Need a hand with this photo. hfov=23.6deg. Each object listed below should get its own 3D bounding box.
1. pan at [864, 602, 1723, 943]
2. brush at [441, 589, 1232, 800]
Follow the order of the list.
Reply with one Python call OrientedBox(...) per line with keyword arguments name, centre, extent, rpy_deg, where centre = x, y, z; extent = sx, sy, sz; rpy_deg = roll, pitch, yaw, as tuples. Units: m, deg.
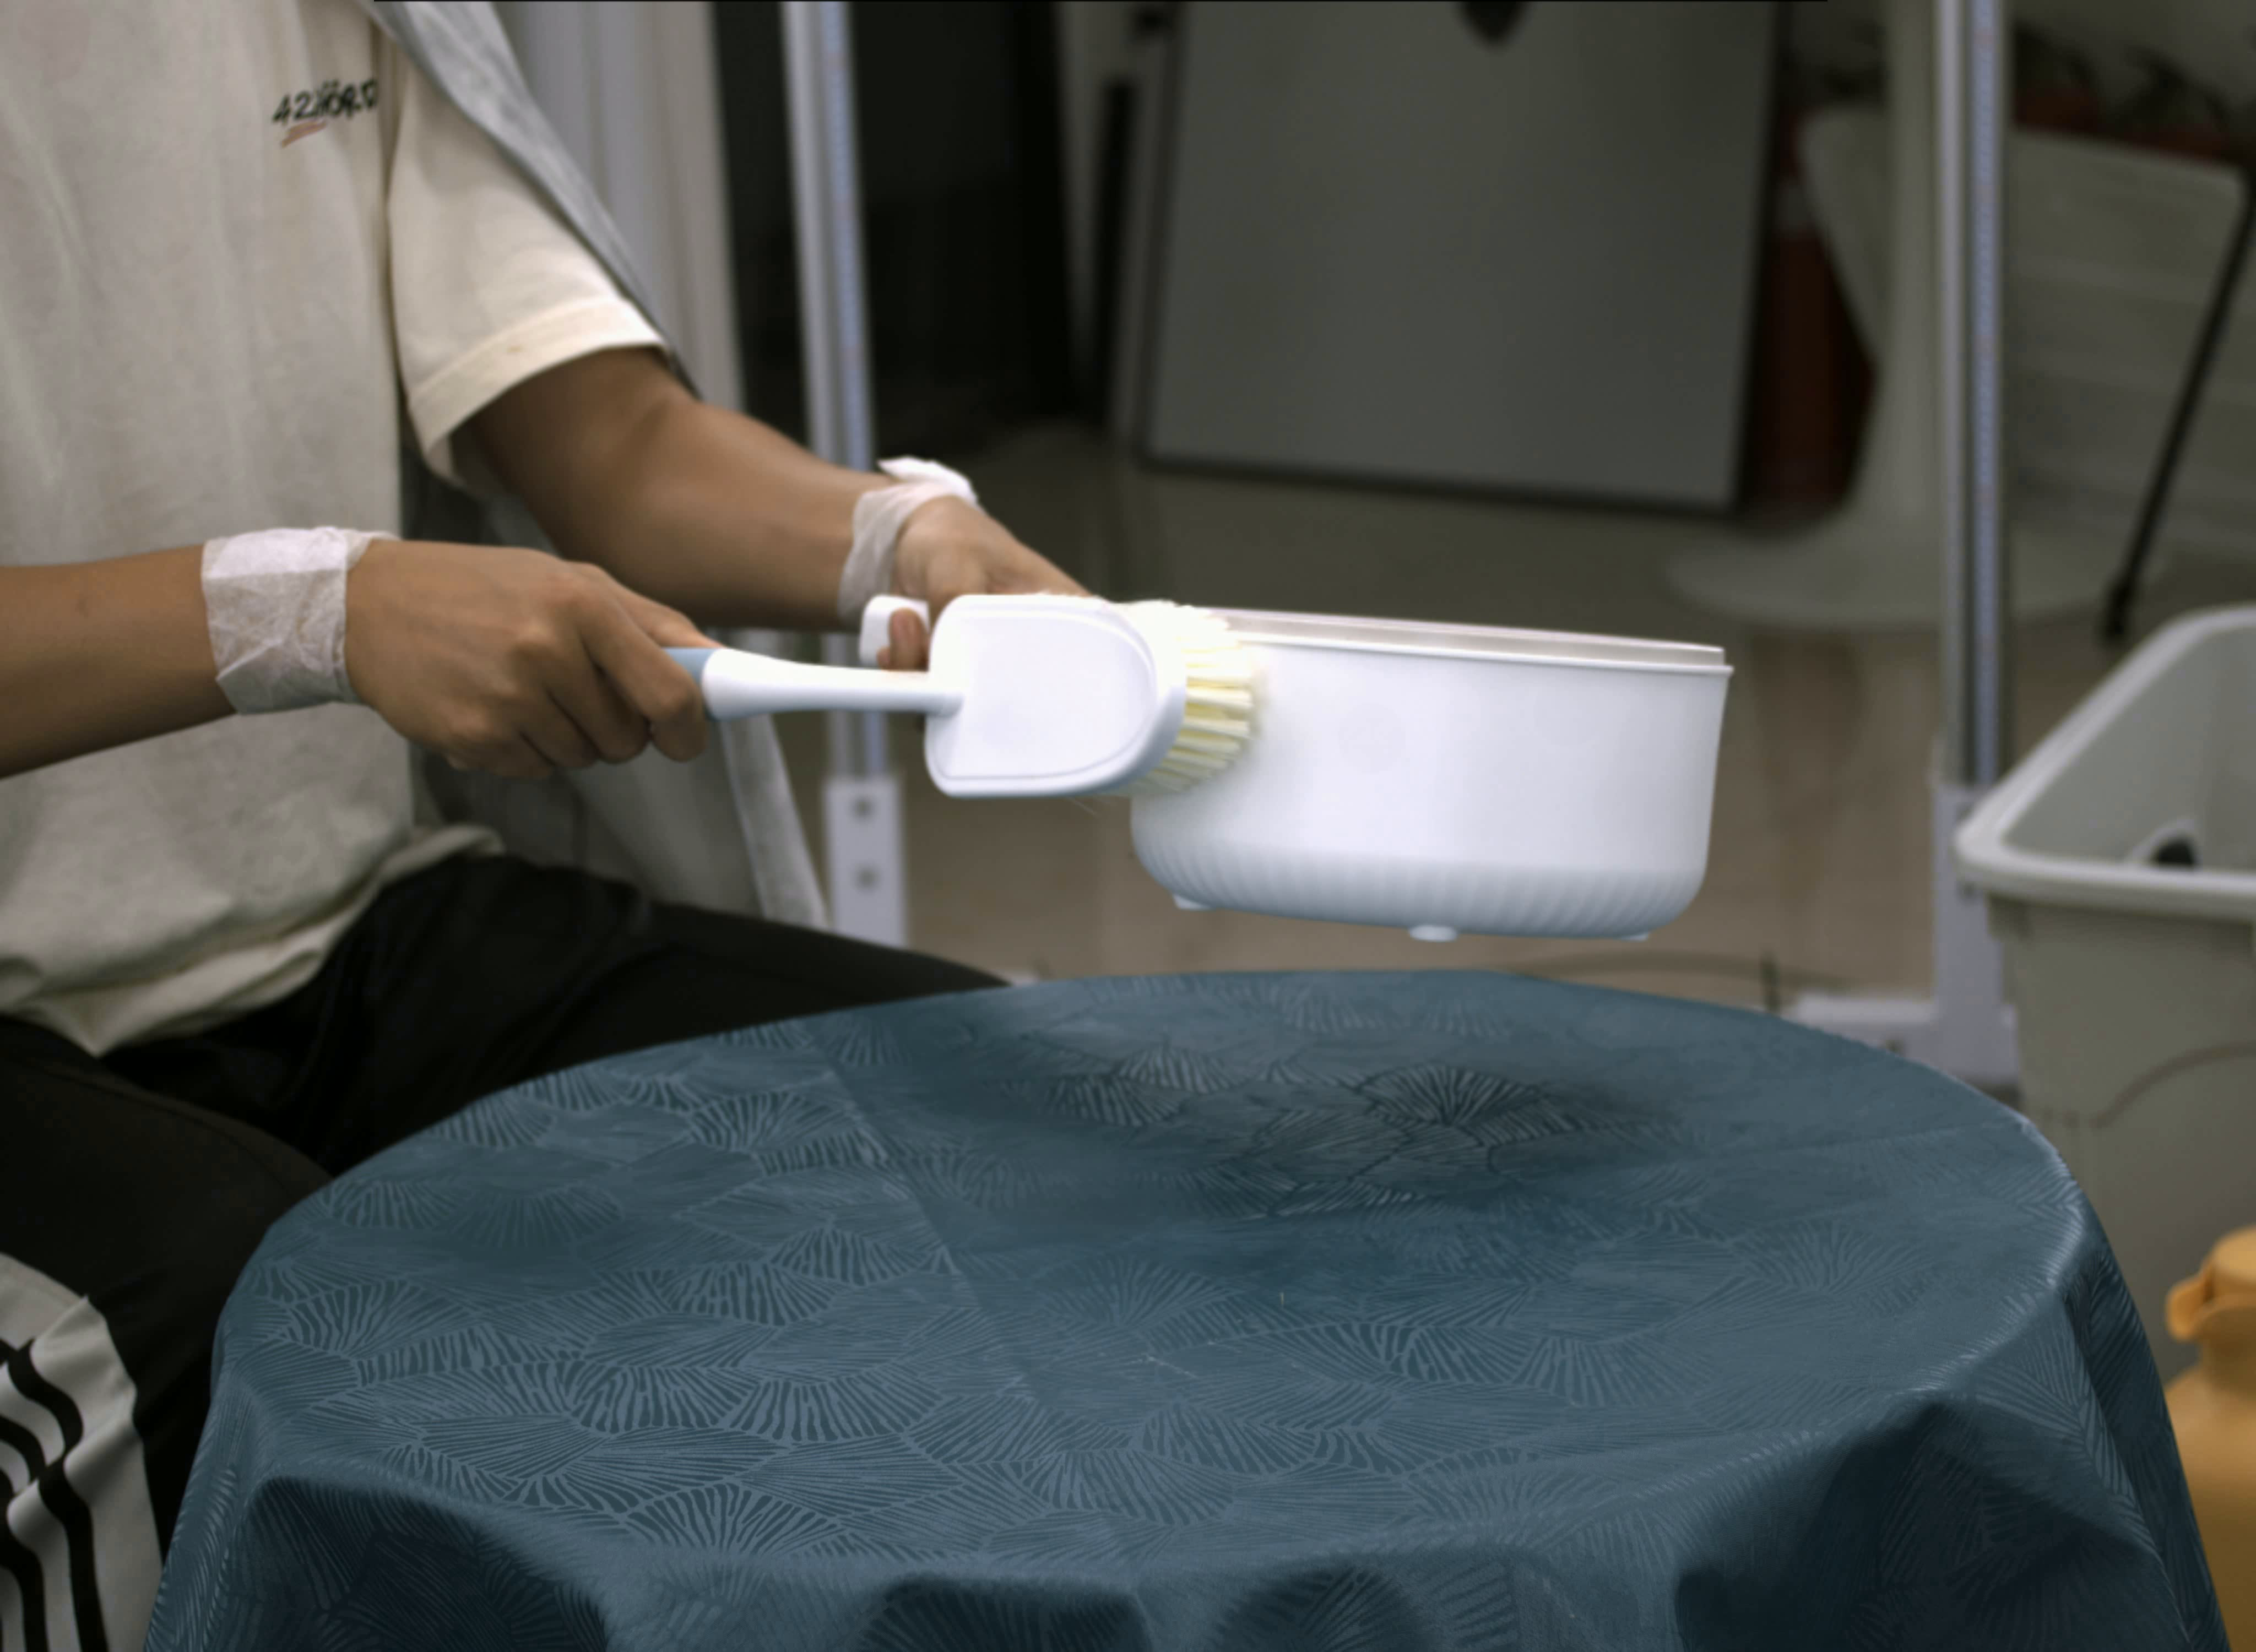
OrientedBox(name="pan", centre=(0.041, -0.022, 1.851), extent=(0.358, 0.103, 0.197), rpy_deg=(5, 3, 44))
OrientedBox(name="brush", centre=(-0.093, -0.048, 1.814), extent=(0.327, 0.084, 0.083), rpy_deg=(1, 50, 38))
